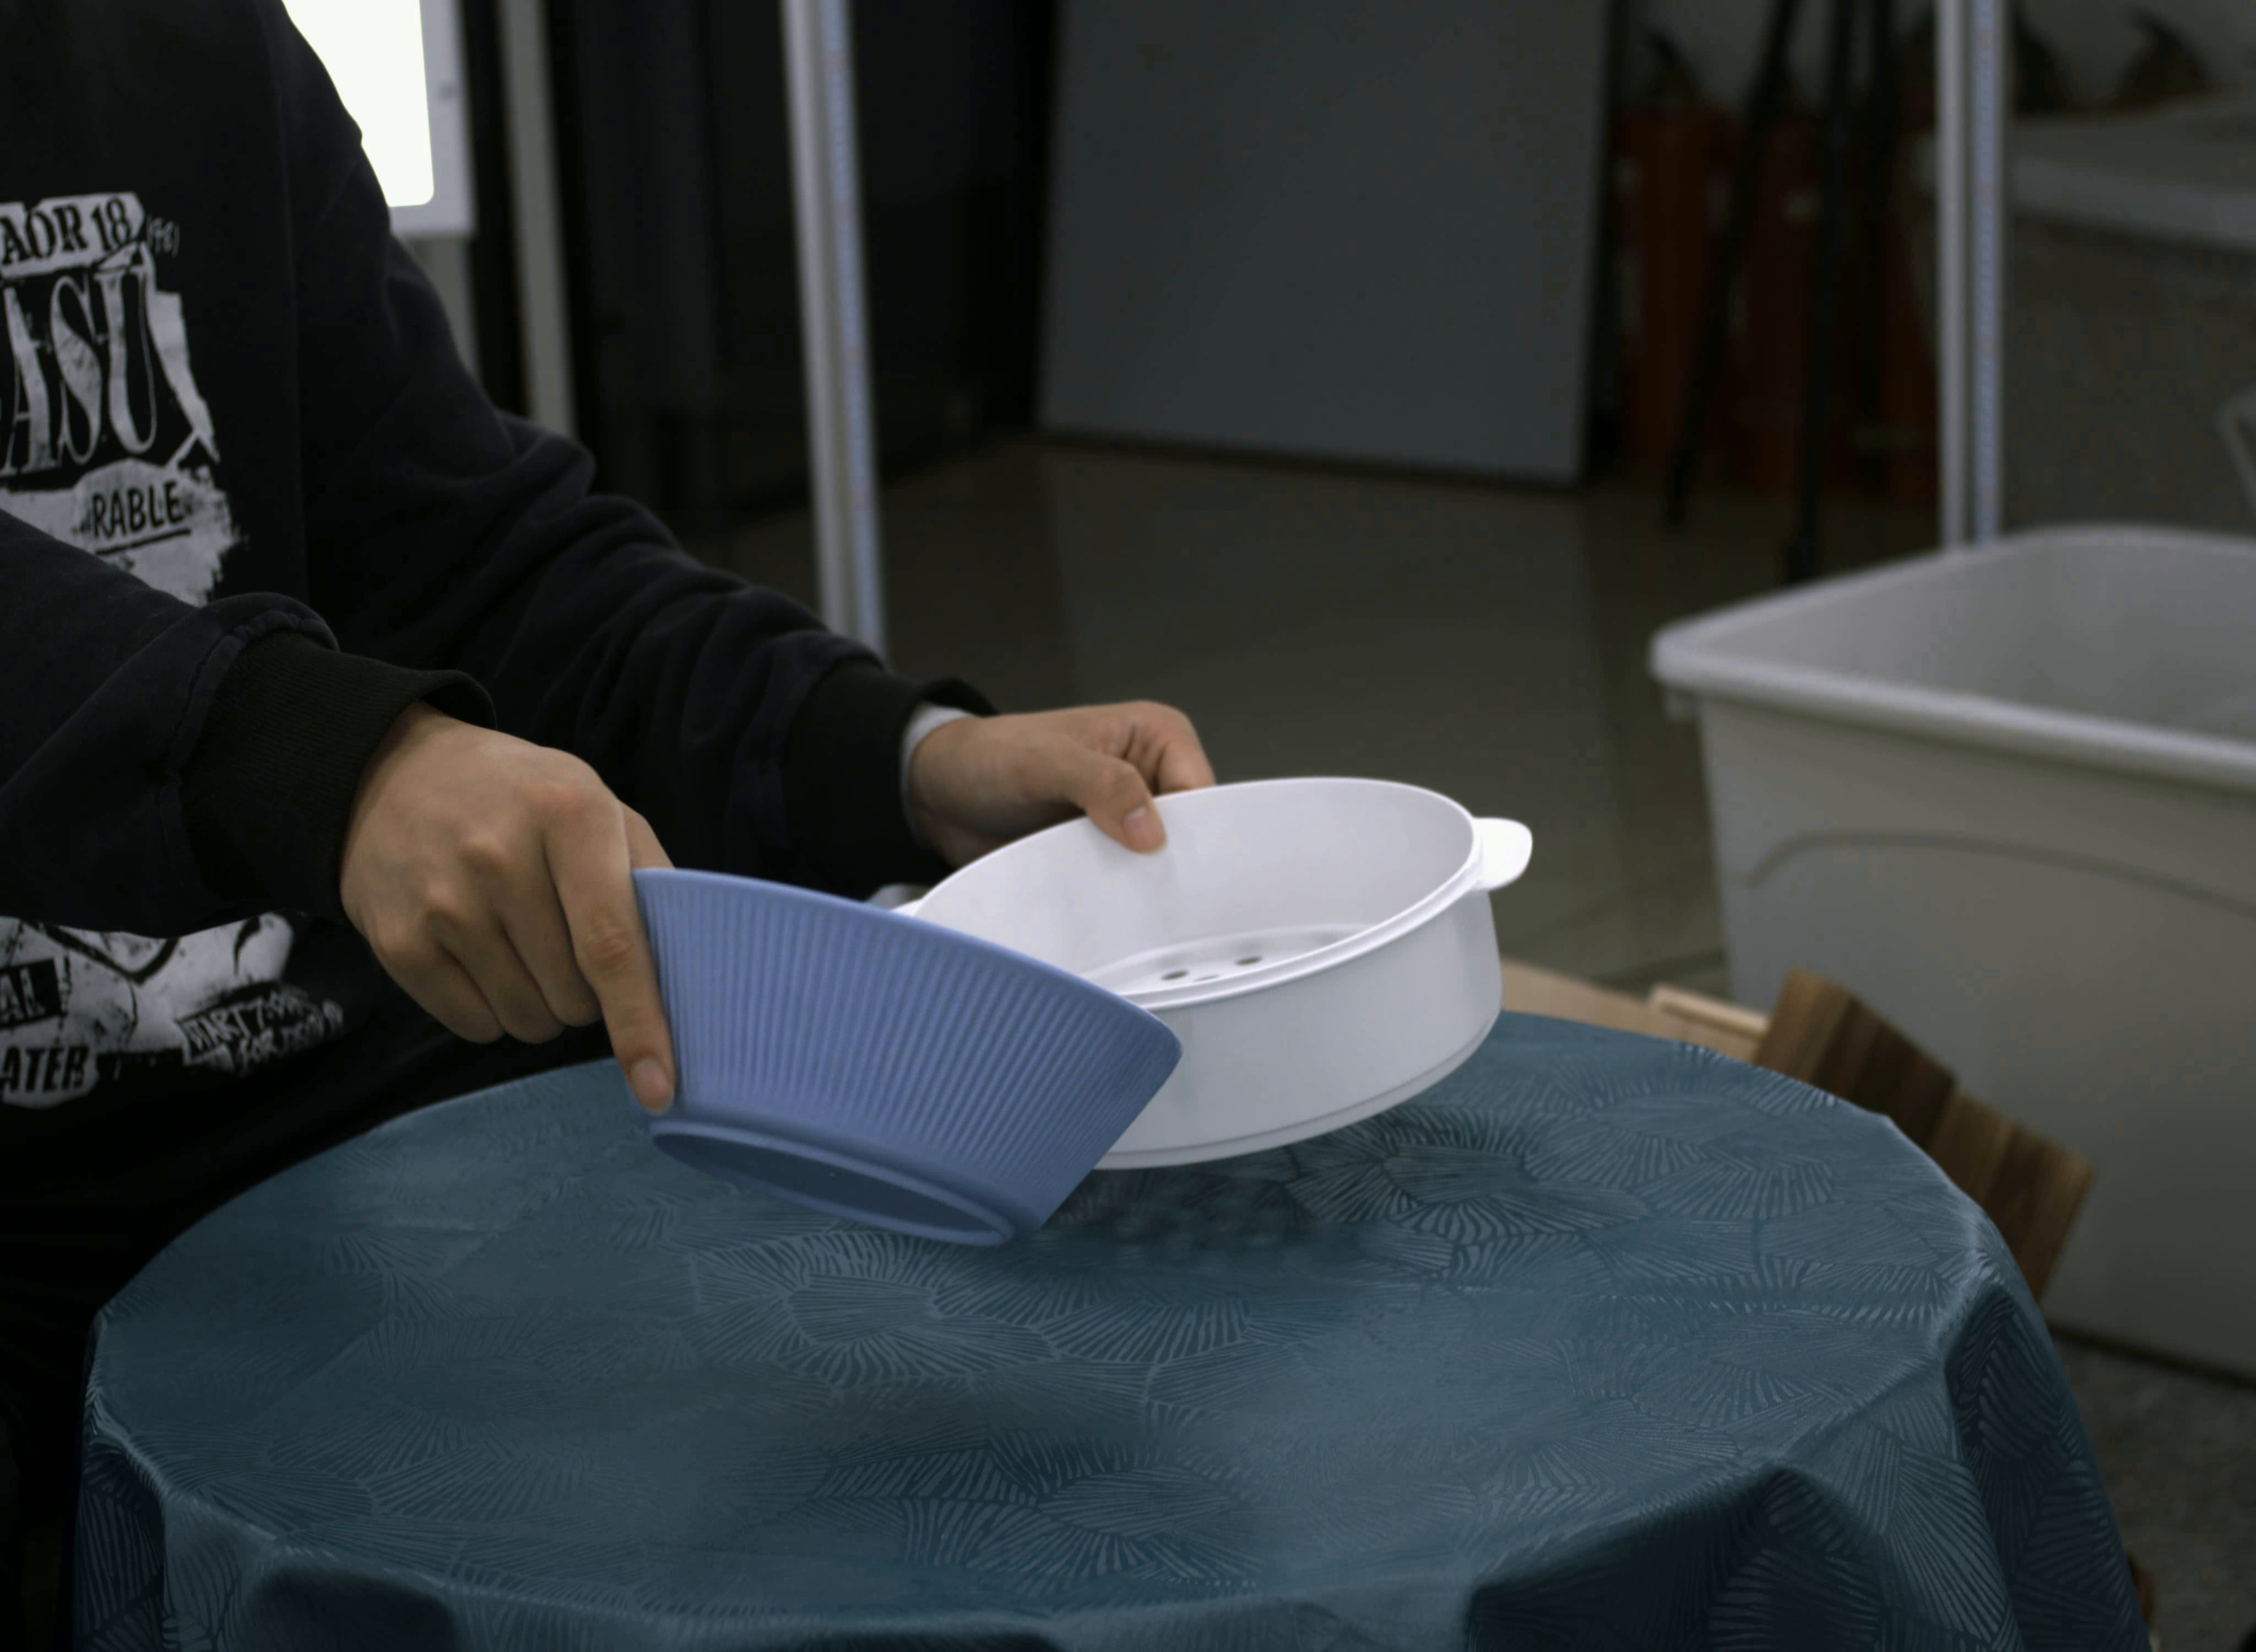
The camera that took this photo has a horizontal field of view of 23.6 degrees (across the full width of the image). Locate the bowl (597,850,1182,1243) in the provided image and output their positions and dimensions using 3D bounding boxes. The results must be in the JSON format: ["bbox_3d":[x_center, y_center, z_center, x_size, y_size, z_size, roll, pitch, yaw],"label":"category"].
[{"bbox_3d":[-0.076,0.068,1.531,0.174,0.071,0.176,16,-14,3],"label":"bowl"}]

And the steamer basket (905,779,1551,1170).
[{"bbox_3d":[0.030,0.049,1.777,0.229,0.070,0.201,-7,18,10],"label":"steamer basket"}]
